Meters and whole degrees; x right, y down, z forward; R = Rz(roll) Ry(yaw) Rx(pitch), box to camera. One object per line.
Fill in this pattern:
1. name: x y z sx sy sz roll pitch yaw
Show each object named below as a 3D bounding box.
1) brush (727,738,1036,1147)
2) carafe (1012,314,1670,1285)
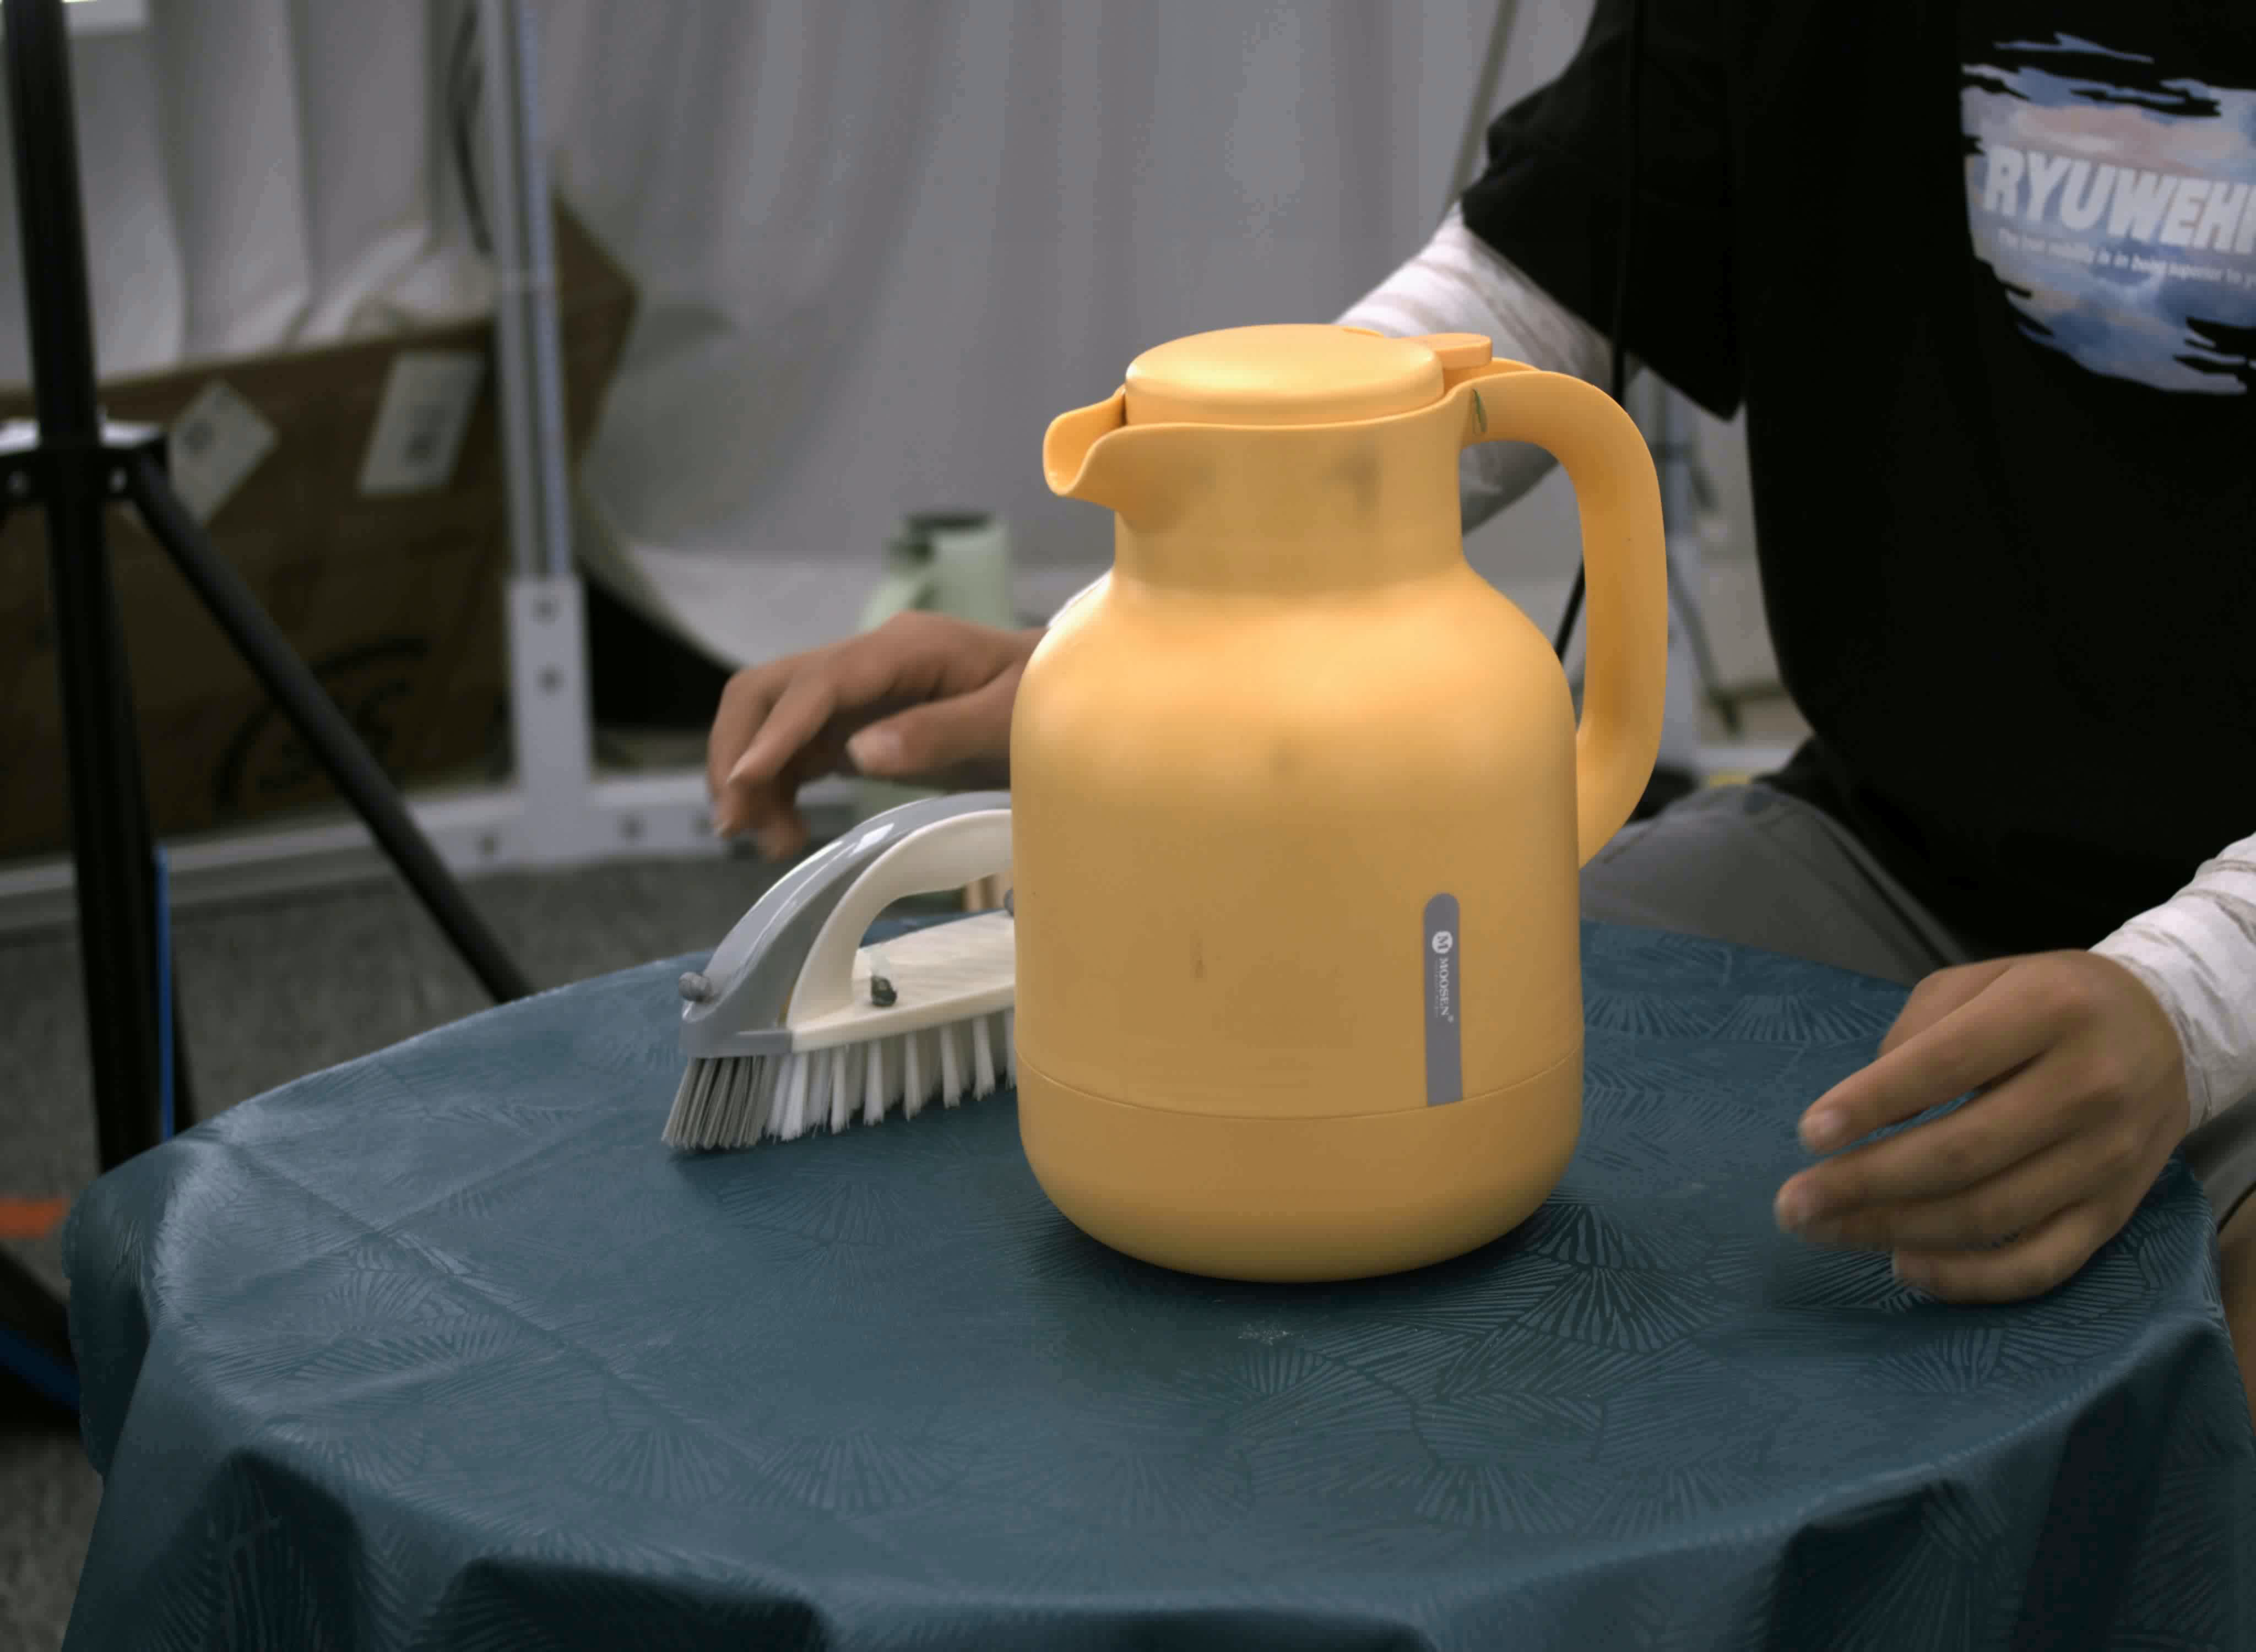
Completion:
1. brush: -0.075 0.031 1.666 0.062 0.094 0.172 2 21 34
2. carafe: 0.066 -0.014 1.505 0.198 0.260 0.167 -10 19 -24
